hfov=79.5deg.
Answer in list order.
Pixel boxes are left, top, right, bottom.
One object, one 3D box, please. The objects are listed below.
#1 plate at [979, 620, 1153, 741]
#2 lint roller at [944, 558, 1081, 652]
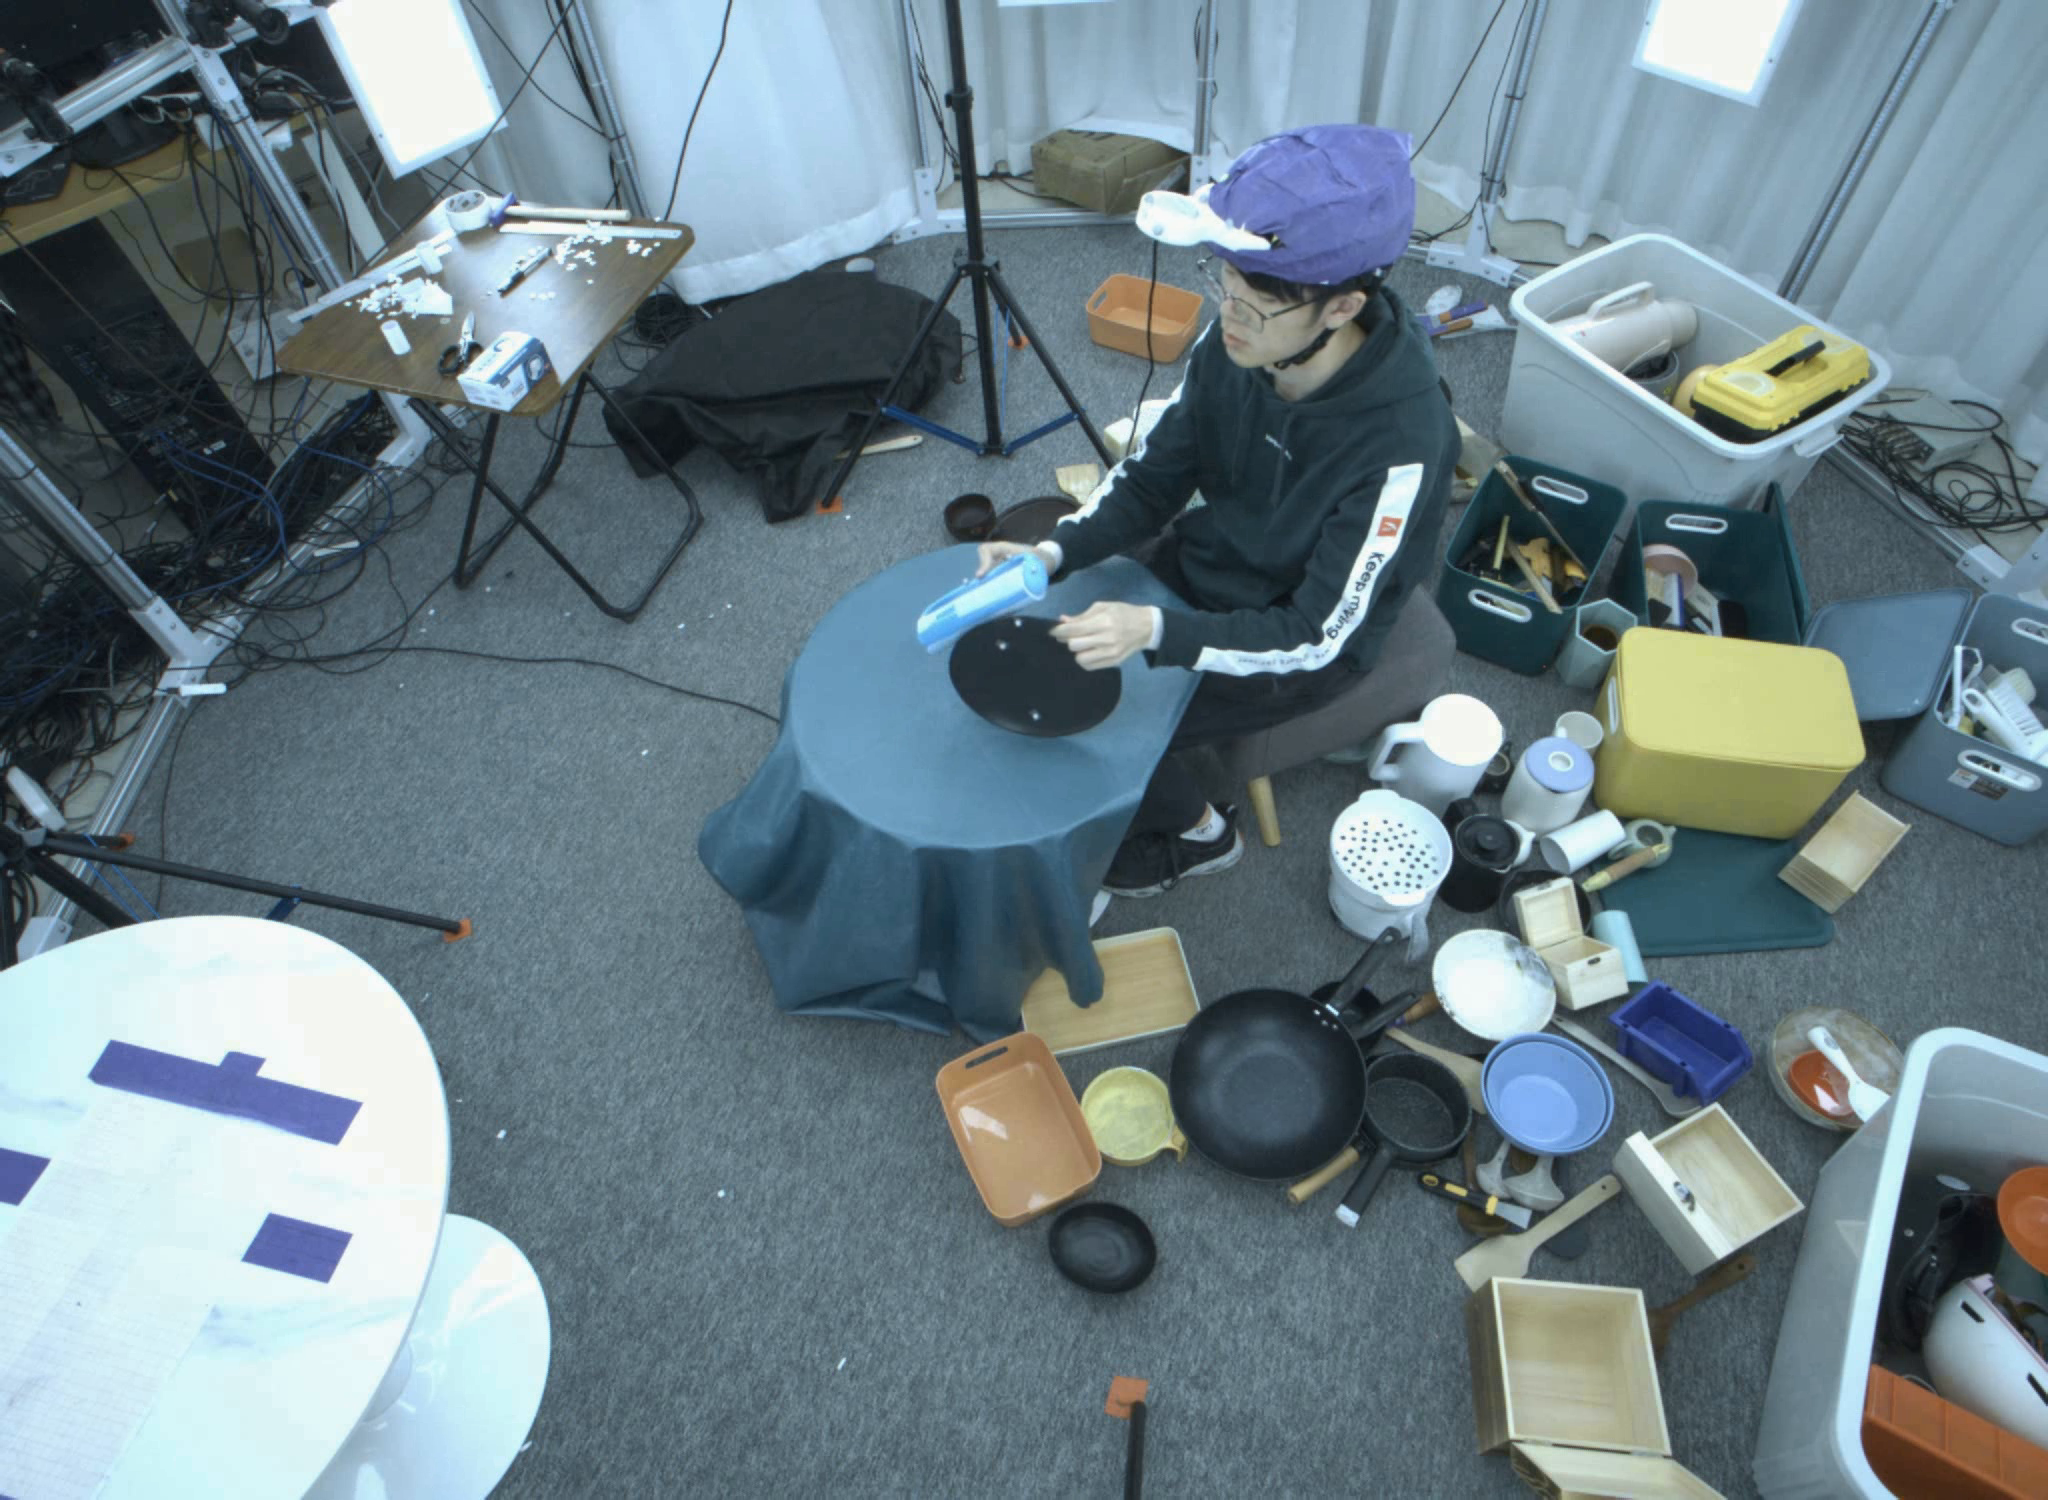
[{"bbox_3d":[0.059,-0.098,1.702,0.243,0.247,0.023,6,51,7],"label":"plate"},{"bbox_3d":[0.005,-0.214,1.703,0.225,0.068,0.181,-22,13,33],"label":"lint roller"}]
